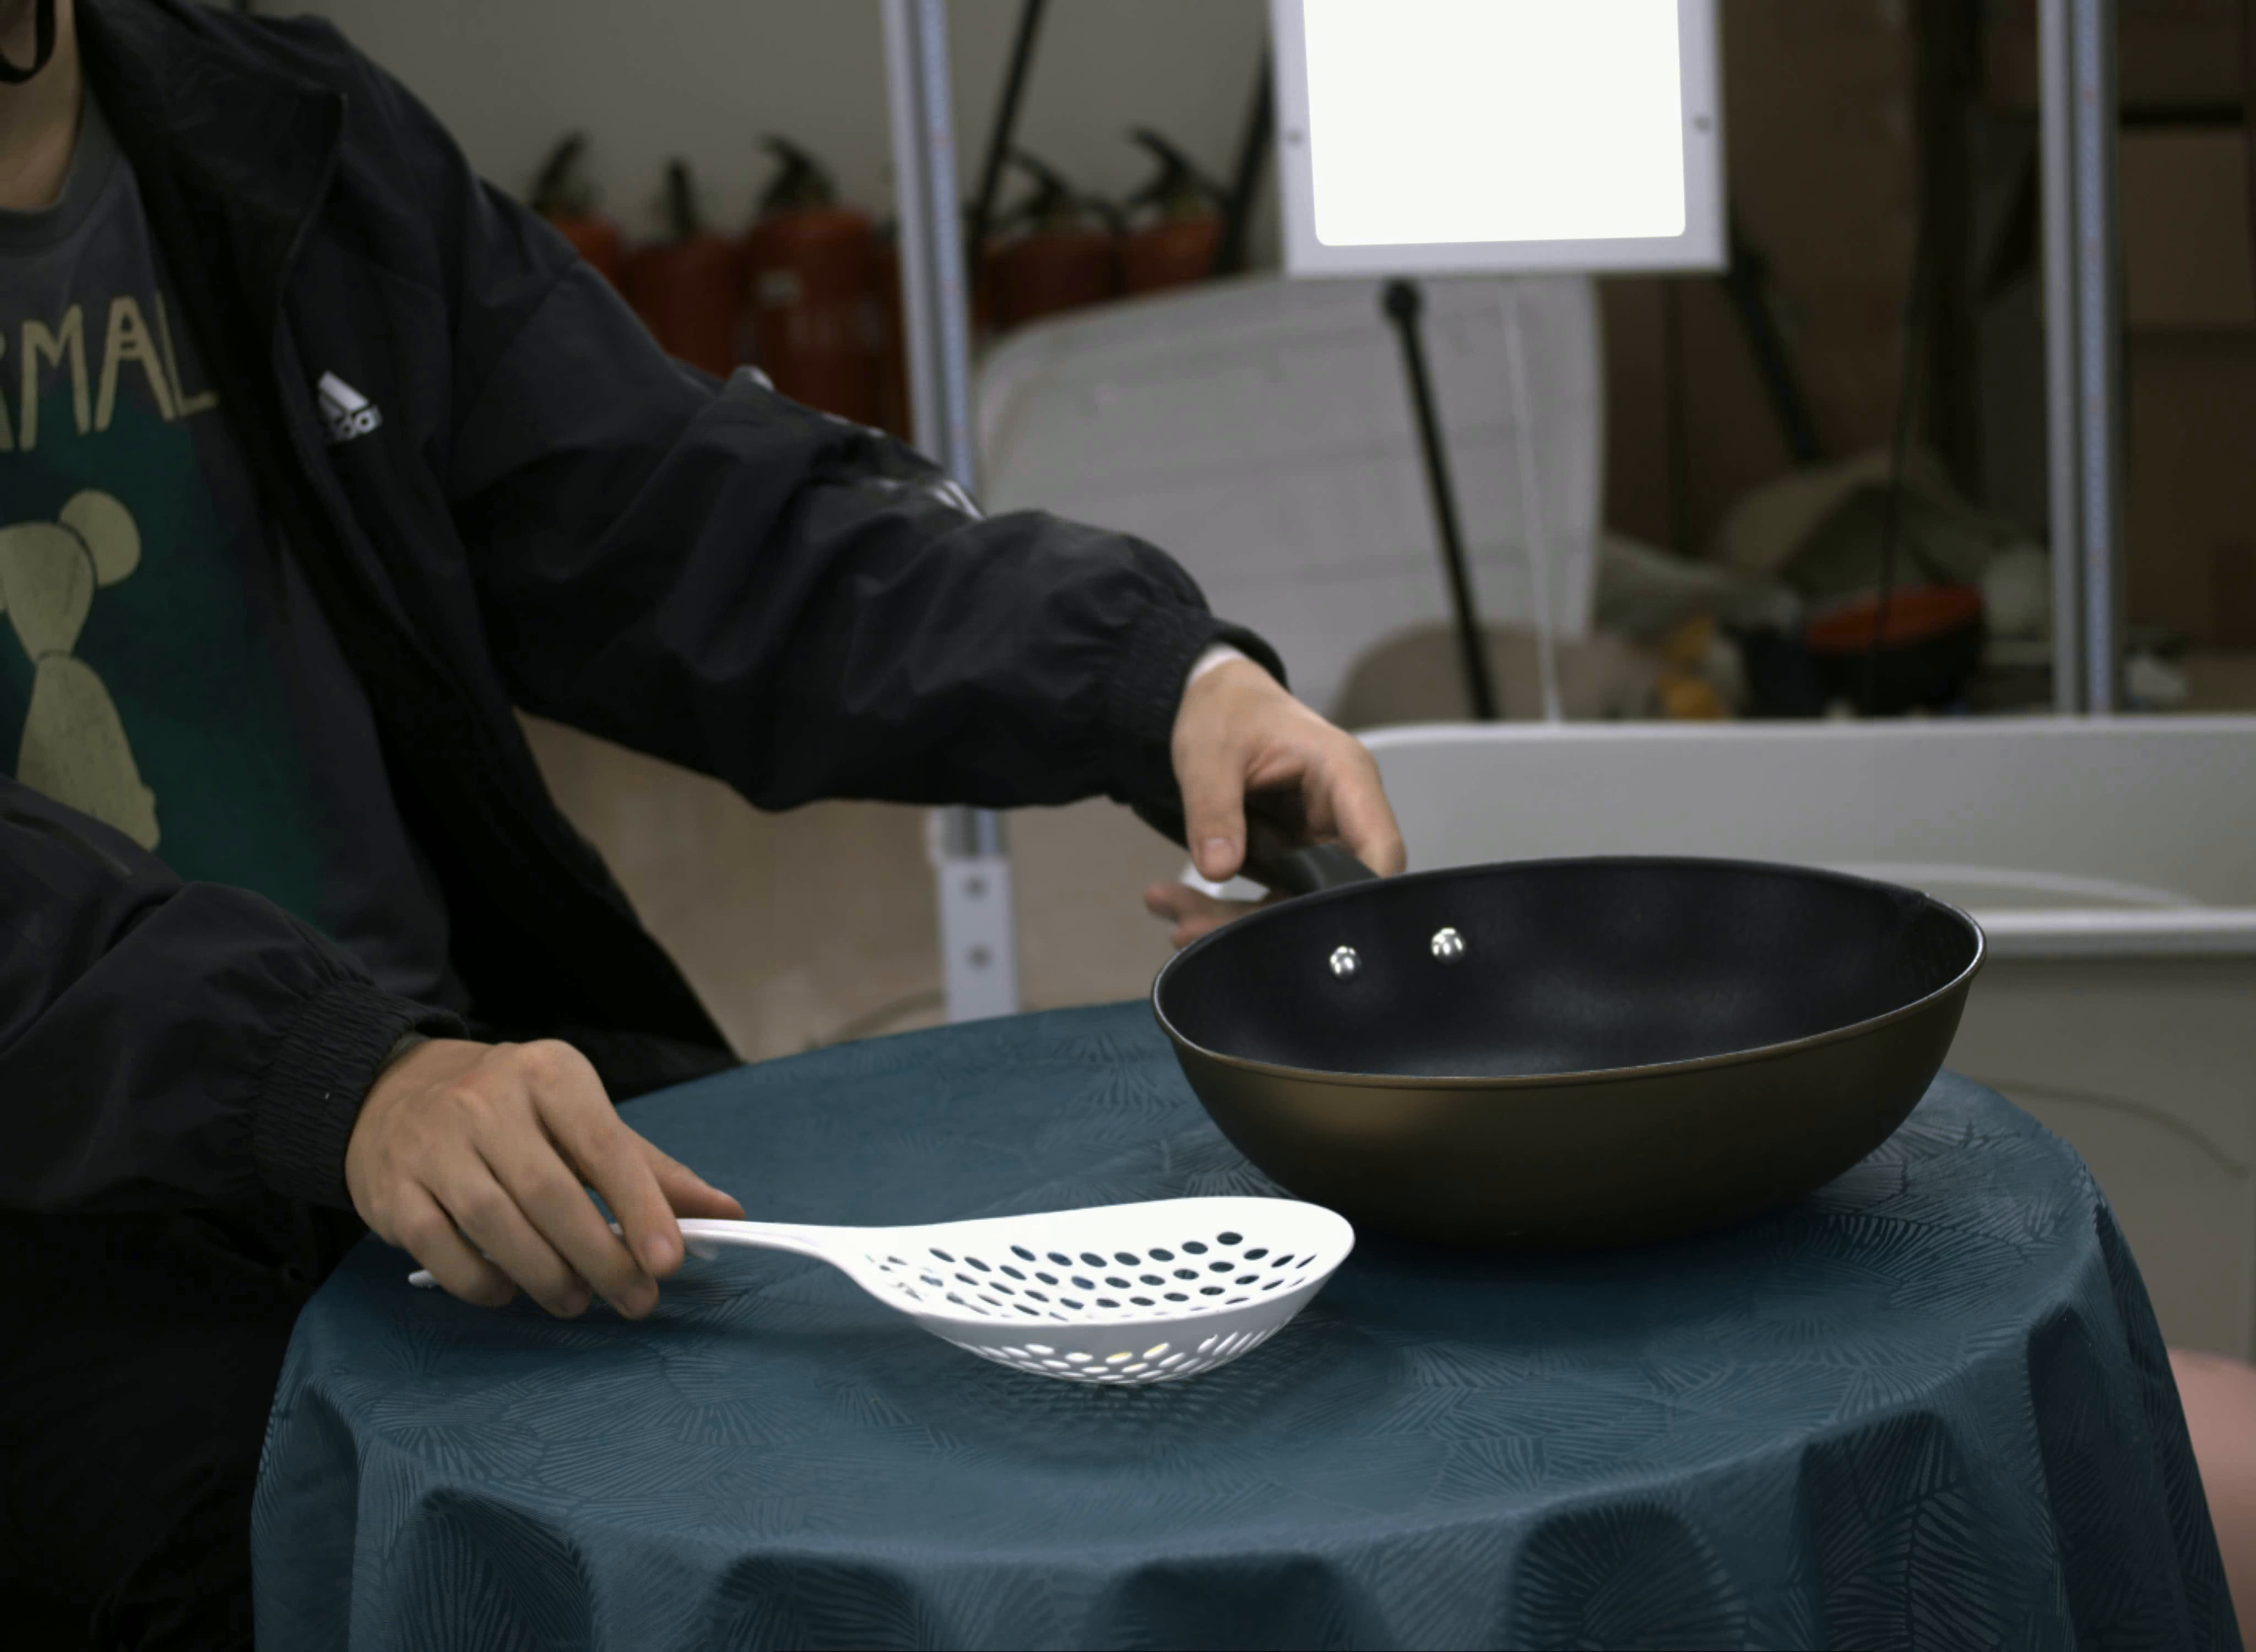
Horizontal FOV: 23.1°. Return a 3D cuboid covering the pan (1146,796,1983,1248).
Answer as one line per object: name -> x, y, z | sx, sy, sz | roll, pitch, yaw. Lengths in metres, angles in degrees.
pan -> 0.111, 0.065, 1.932 | 0.282, 0.087, 0.470 | -11, 14, -22

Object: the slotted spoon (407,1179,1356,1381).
slotted spoon -> -0.089, 0.144, 1.771 | 0.355, 0.050, 0.133 | 3, 15, 32
